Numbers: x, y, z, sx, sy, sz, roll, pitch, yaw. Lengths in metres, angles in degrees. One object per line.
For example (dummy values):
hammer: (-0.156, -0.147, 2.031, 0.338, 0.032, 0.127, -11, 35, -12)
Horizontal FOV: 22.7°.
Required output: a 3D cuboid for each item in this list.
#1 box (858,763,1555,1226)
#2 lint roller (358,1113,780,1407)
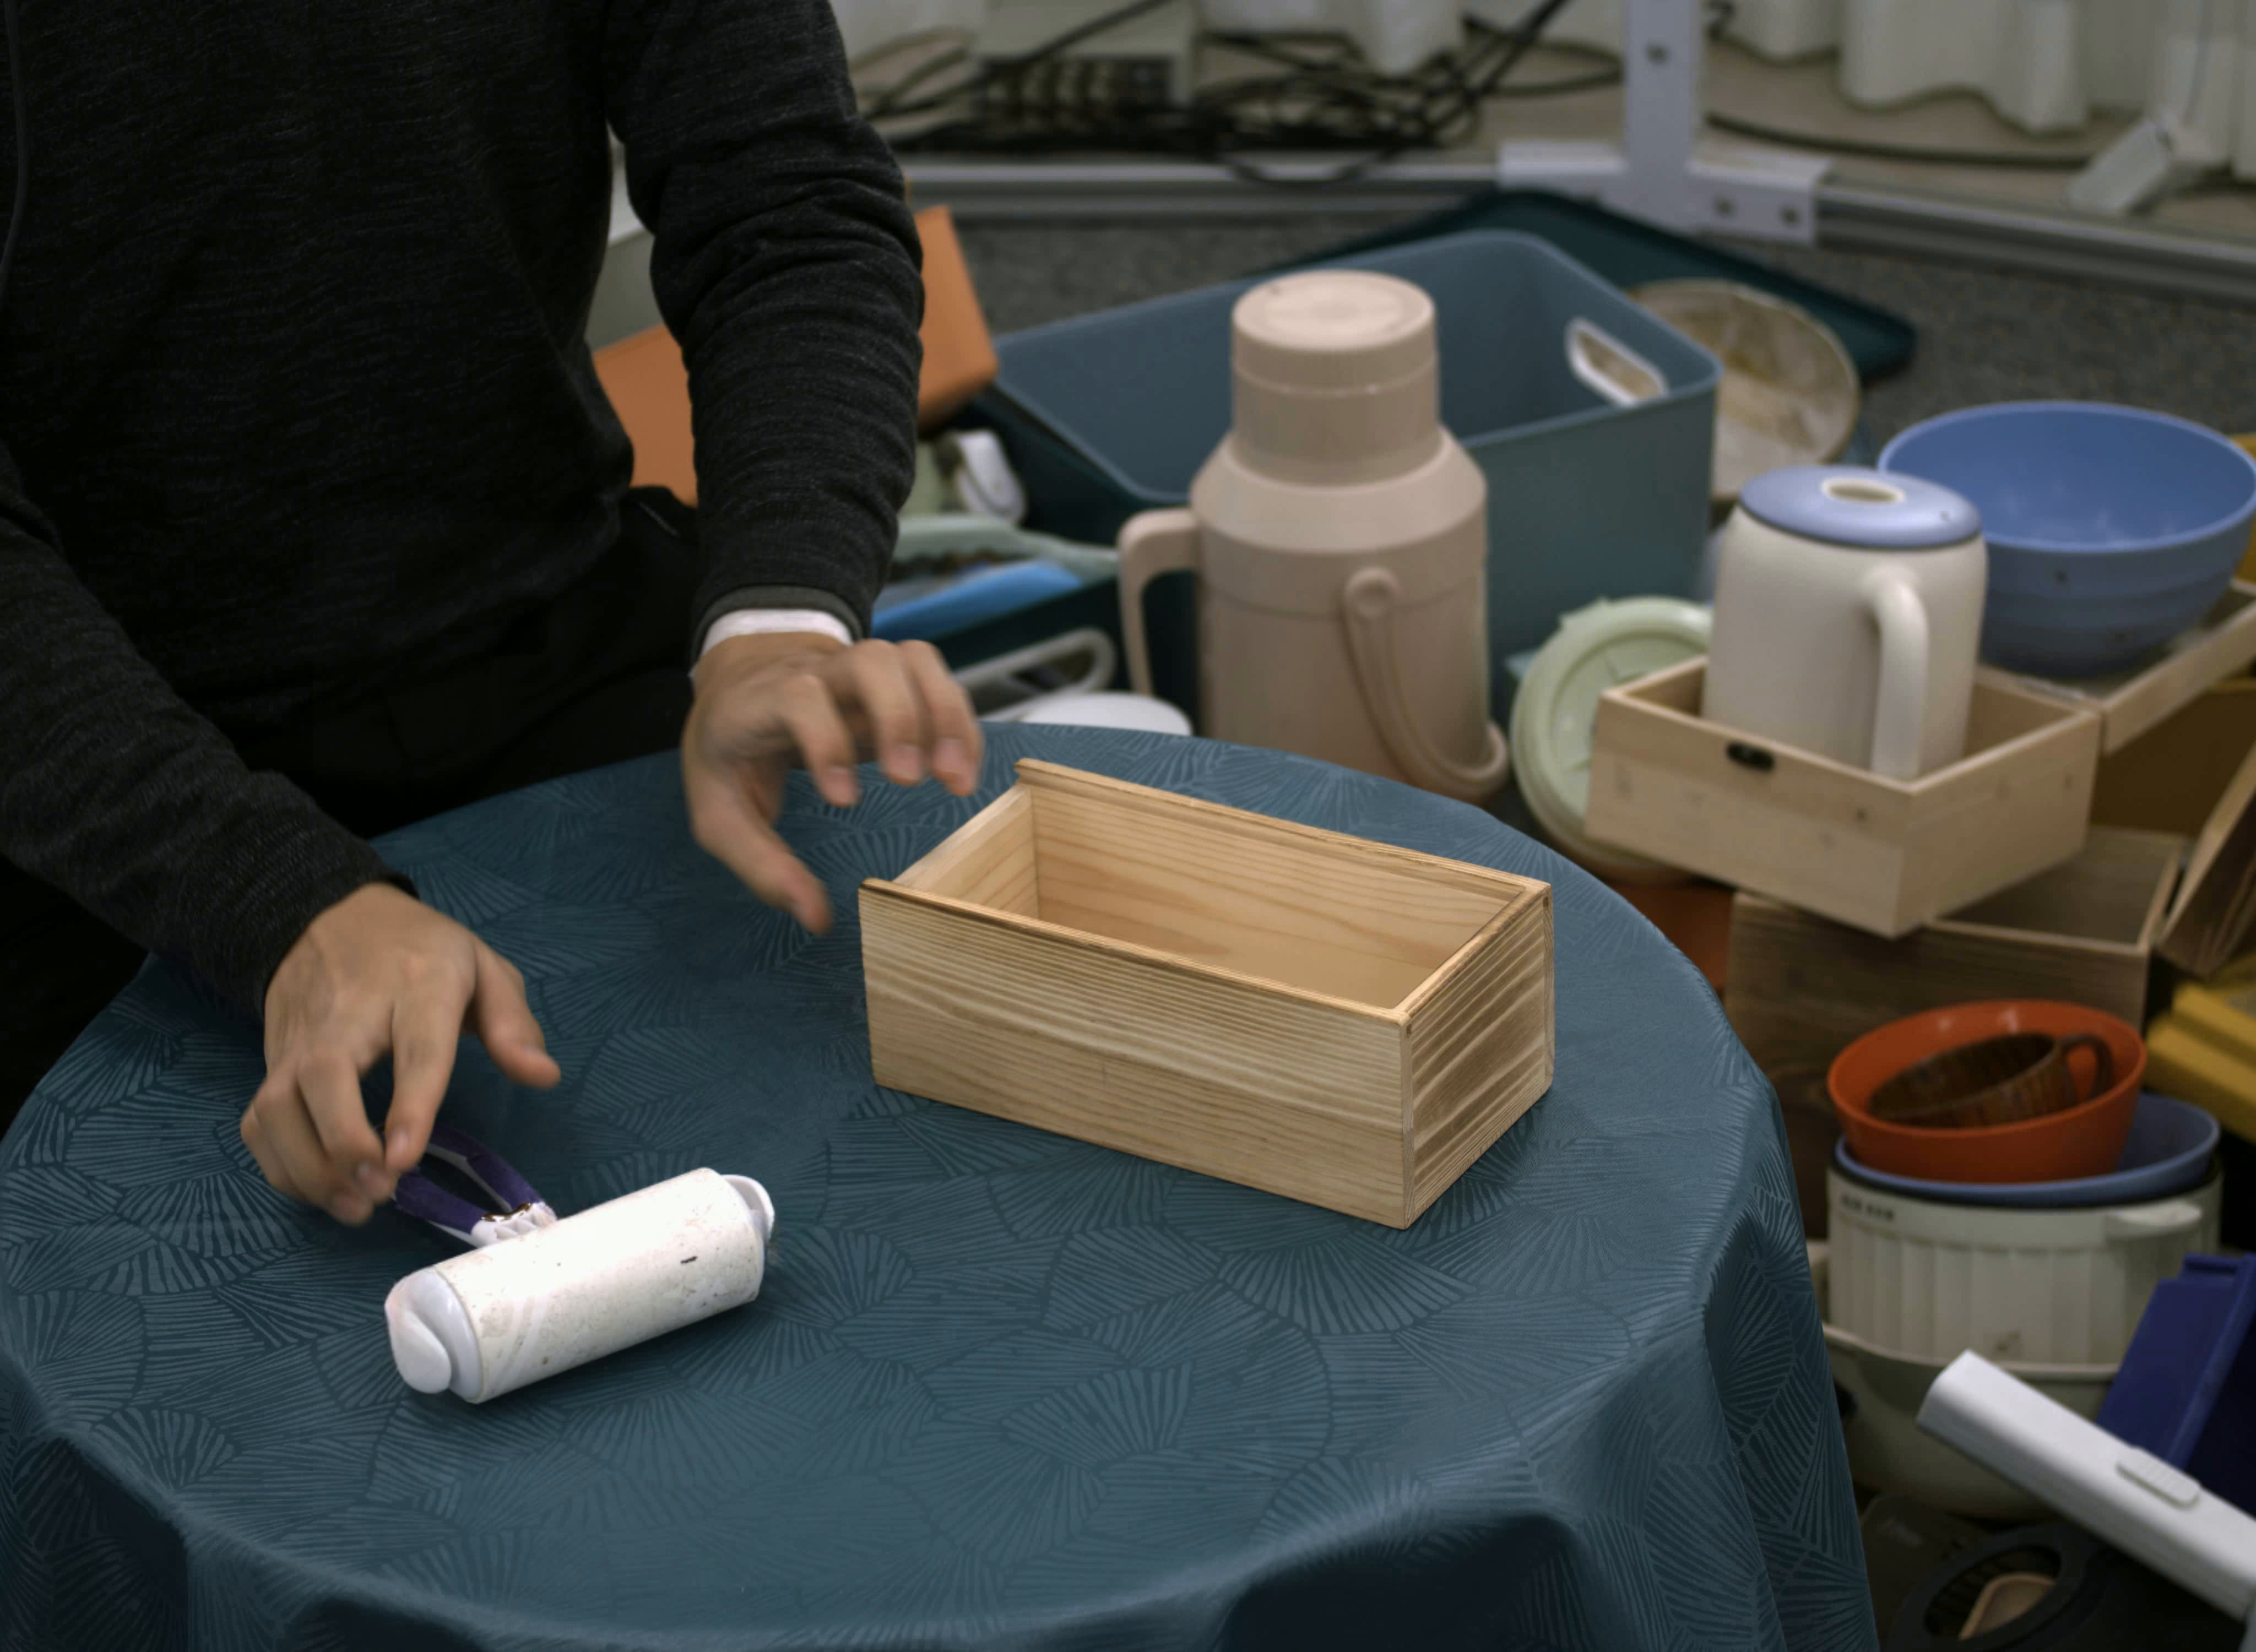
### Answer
box: (0.027, 0.055, 1.903, 0.210, 0.079, 0.109, 12, 31, 29)
lint roller: (-0.205, 0.121, 1.832, 0.134, 0.049, 0.181, -18, 33, -26)
